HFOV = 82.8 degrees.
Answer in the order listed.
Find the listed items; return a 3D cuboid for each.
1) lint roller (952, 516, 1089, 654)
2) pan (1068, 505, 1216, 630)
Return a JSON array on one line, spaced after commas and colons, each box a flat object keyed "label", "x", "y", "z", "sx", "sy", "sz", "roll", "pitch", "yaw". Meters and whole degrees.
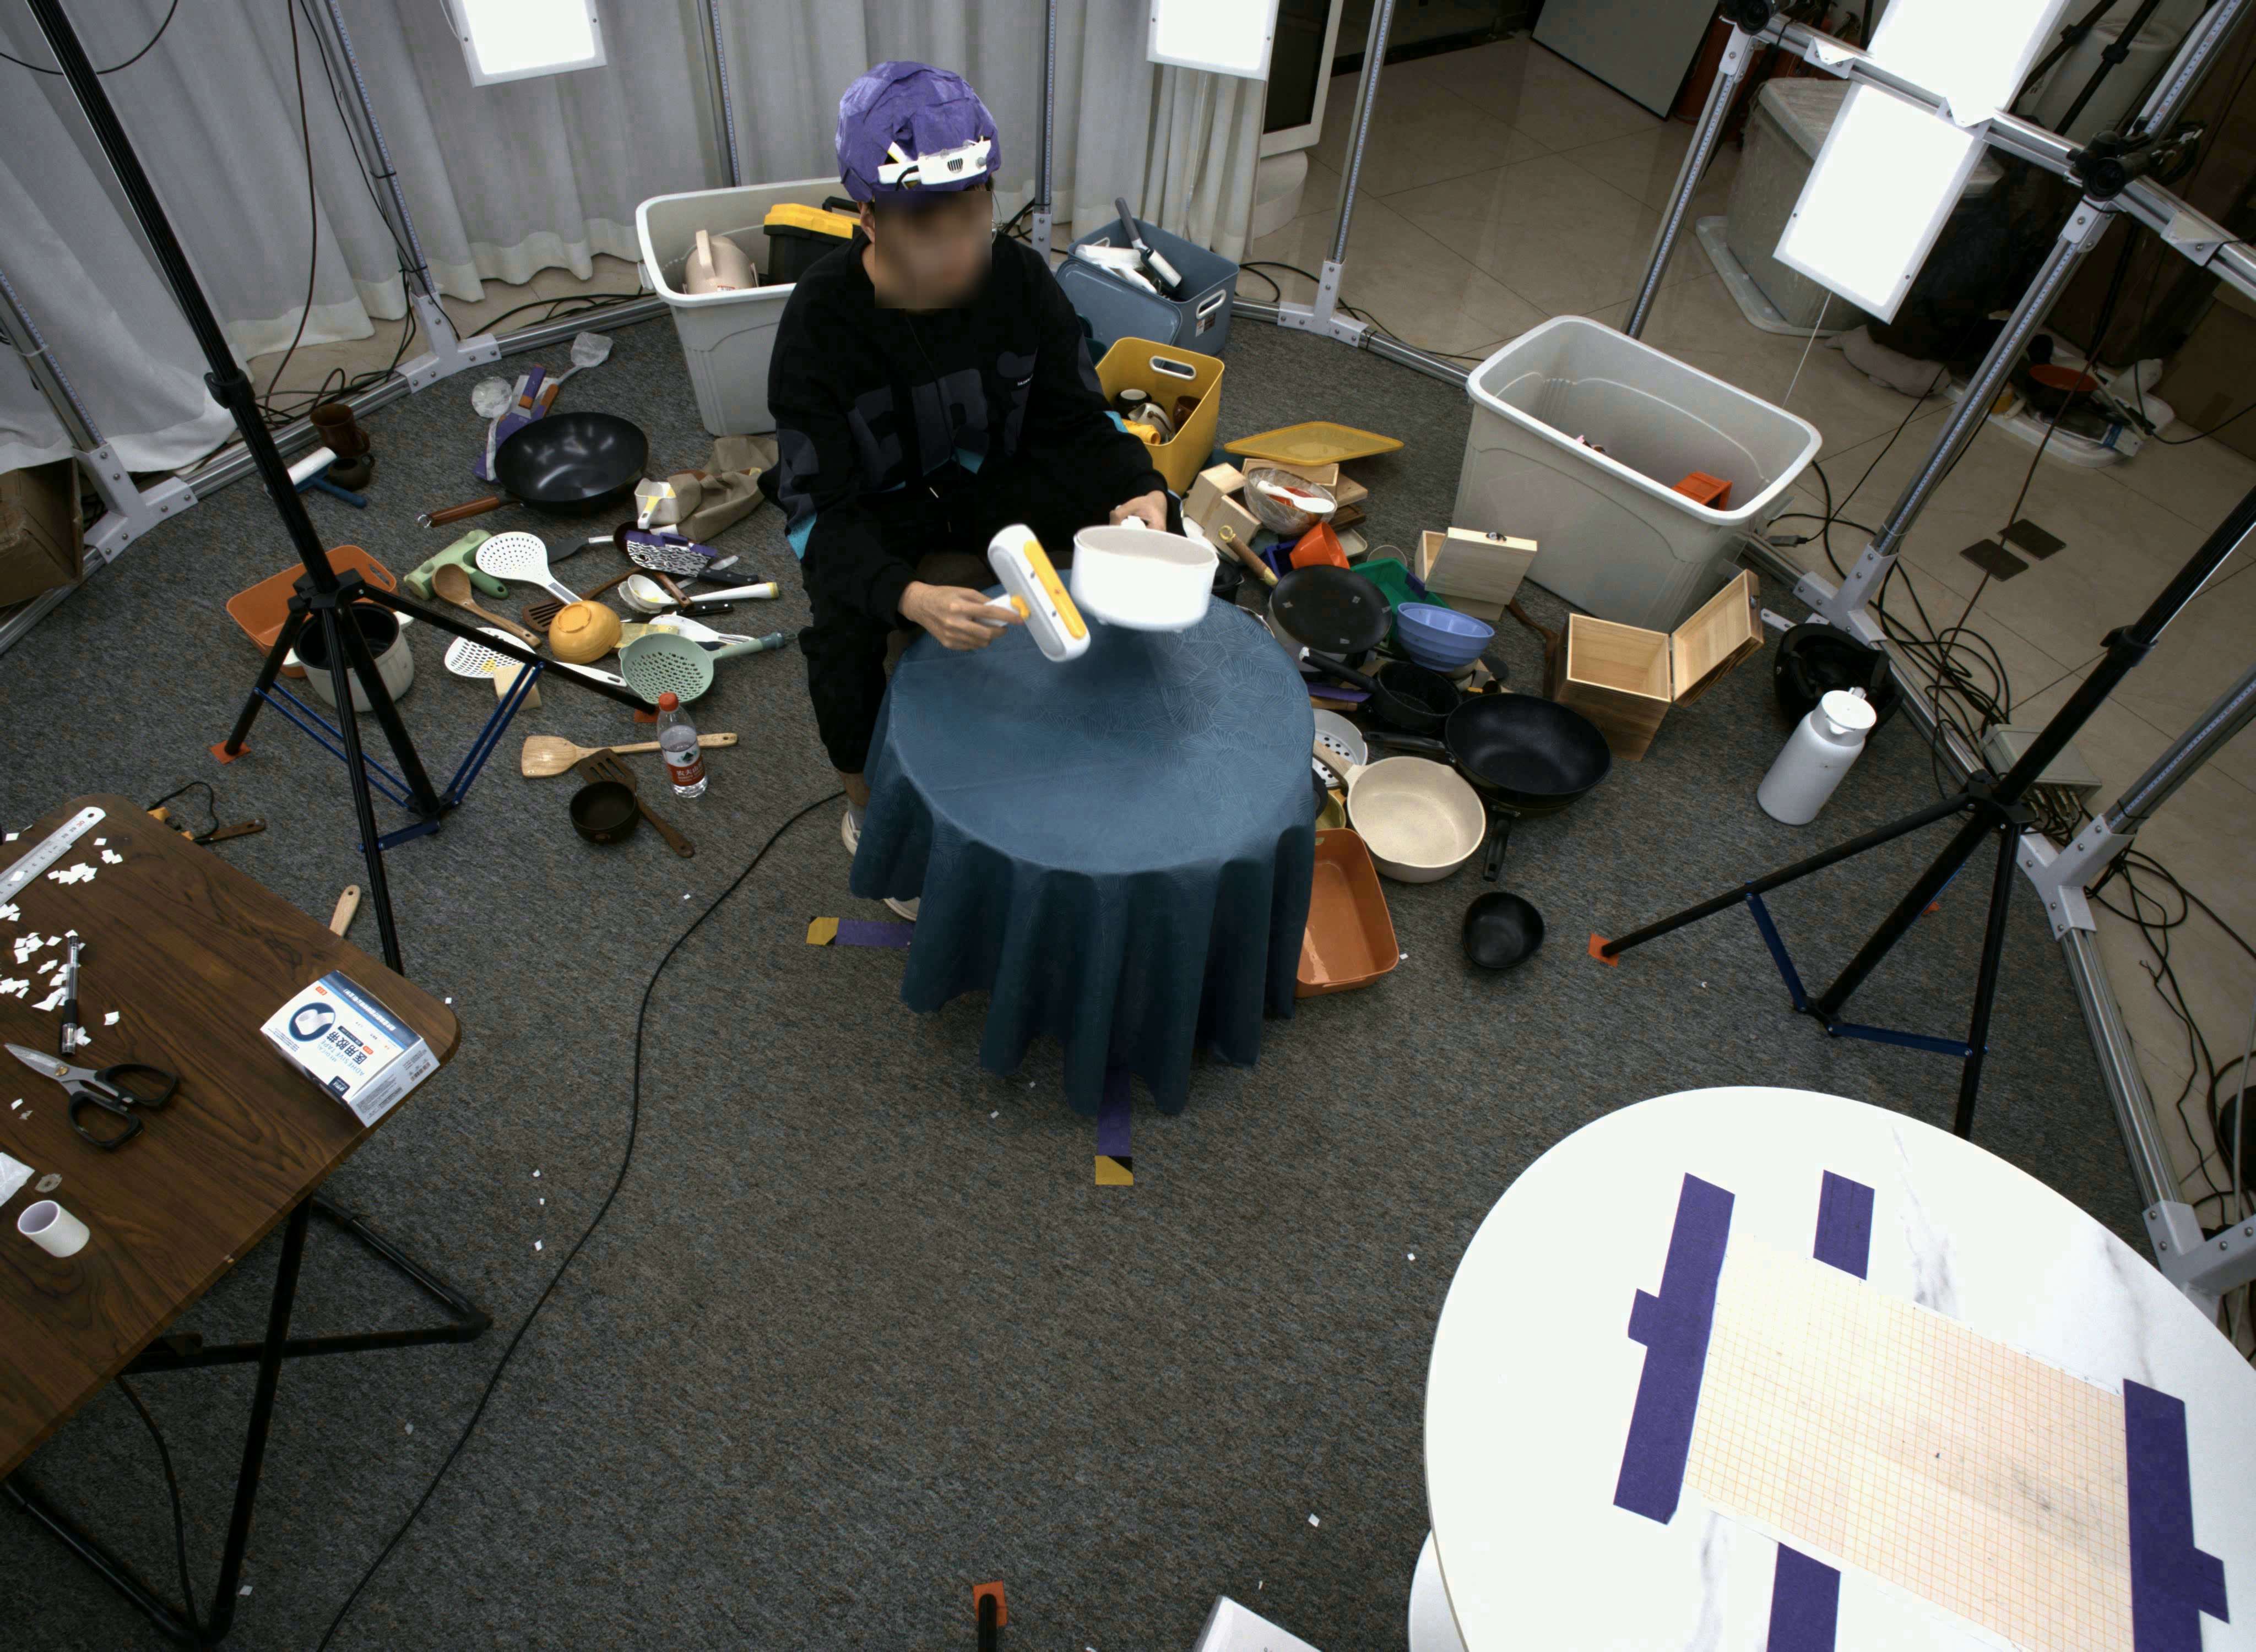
[{"label": "lint roller", "x": -0.162, "y": -0.299, "z": 1.730, "sx": 0.191, "sy": 0.191, "sz": 0.075, "roll": 54, "pitch": 50, "yaw": -15}, {"label": "pan", "x": 0.009, "y": -0.377, "z": 1.853, "sx": 0.201, "sy": 0.100, "sz": 0.361, "roll": 6, "pitch": 24, "yaw": -8}]
